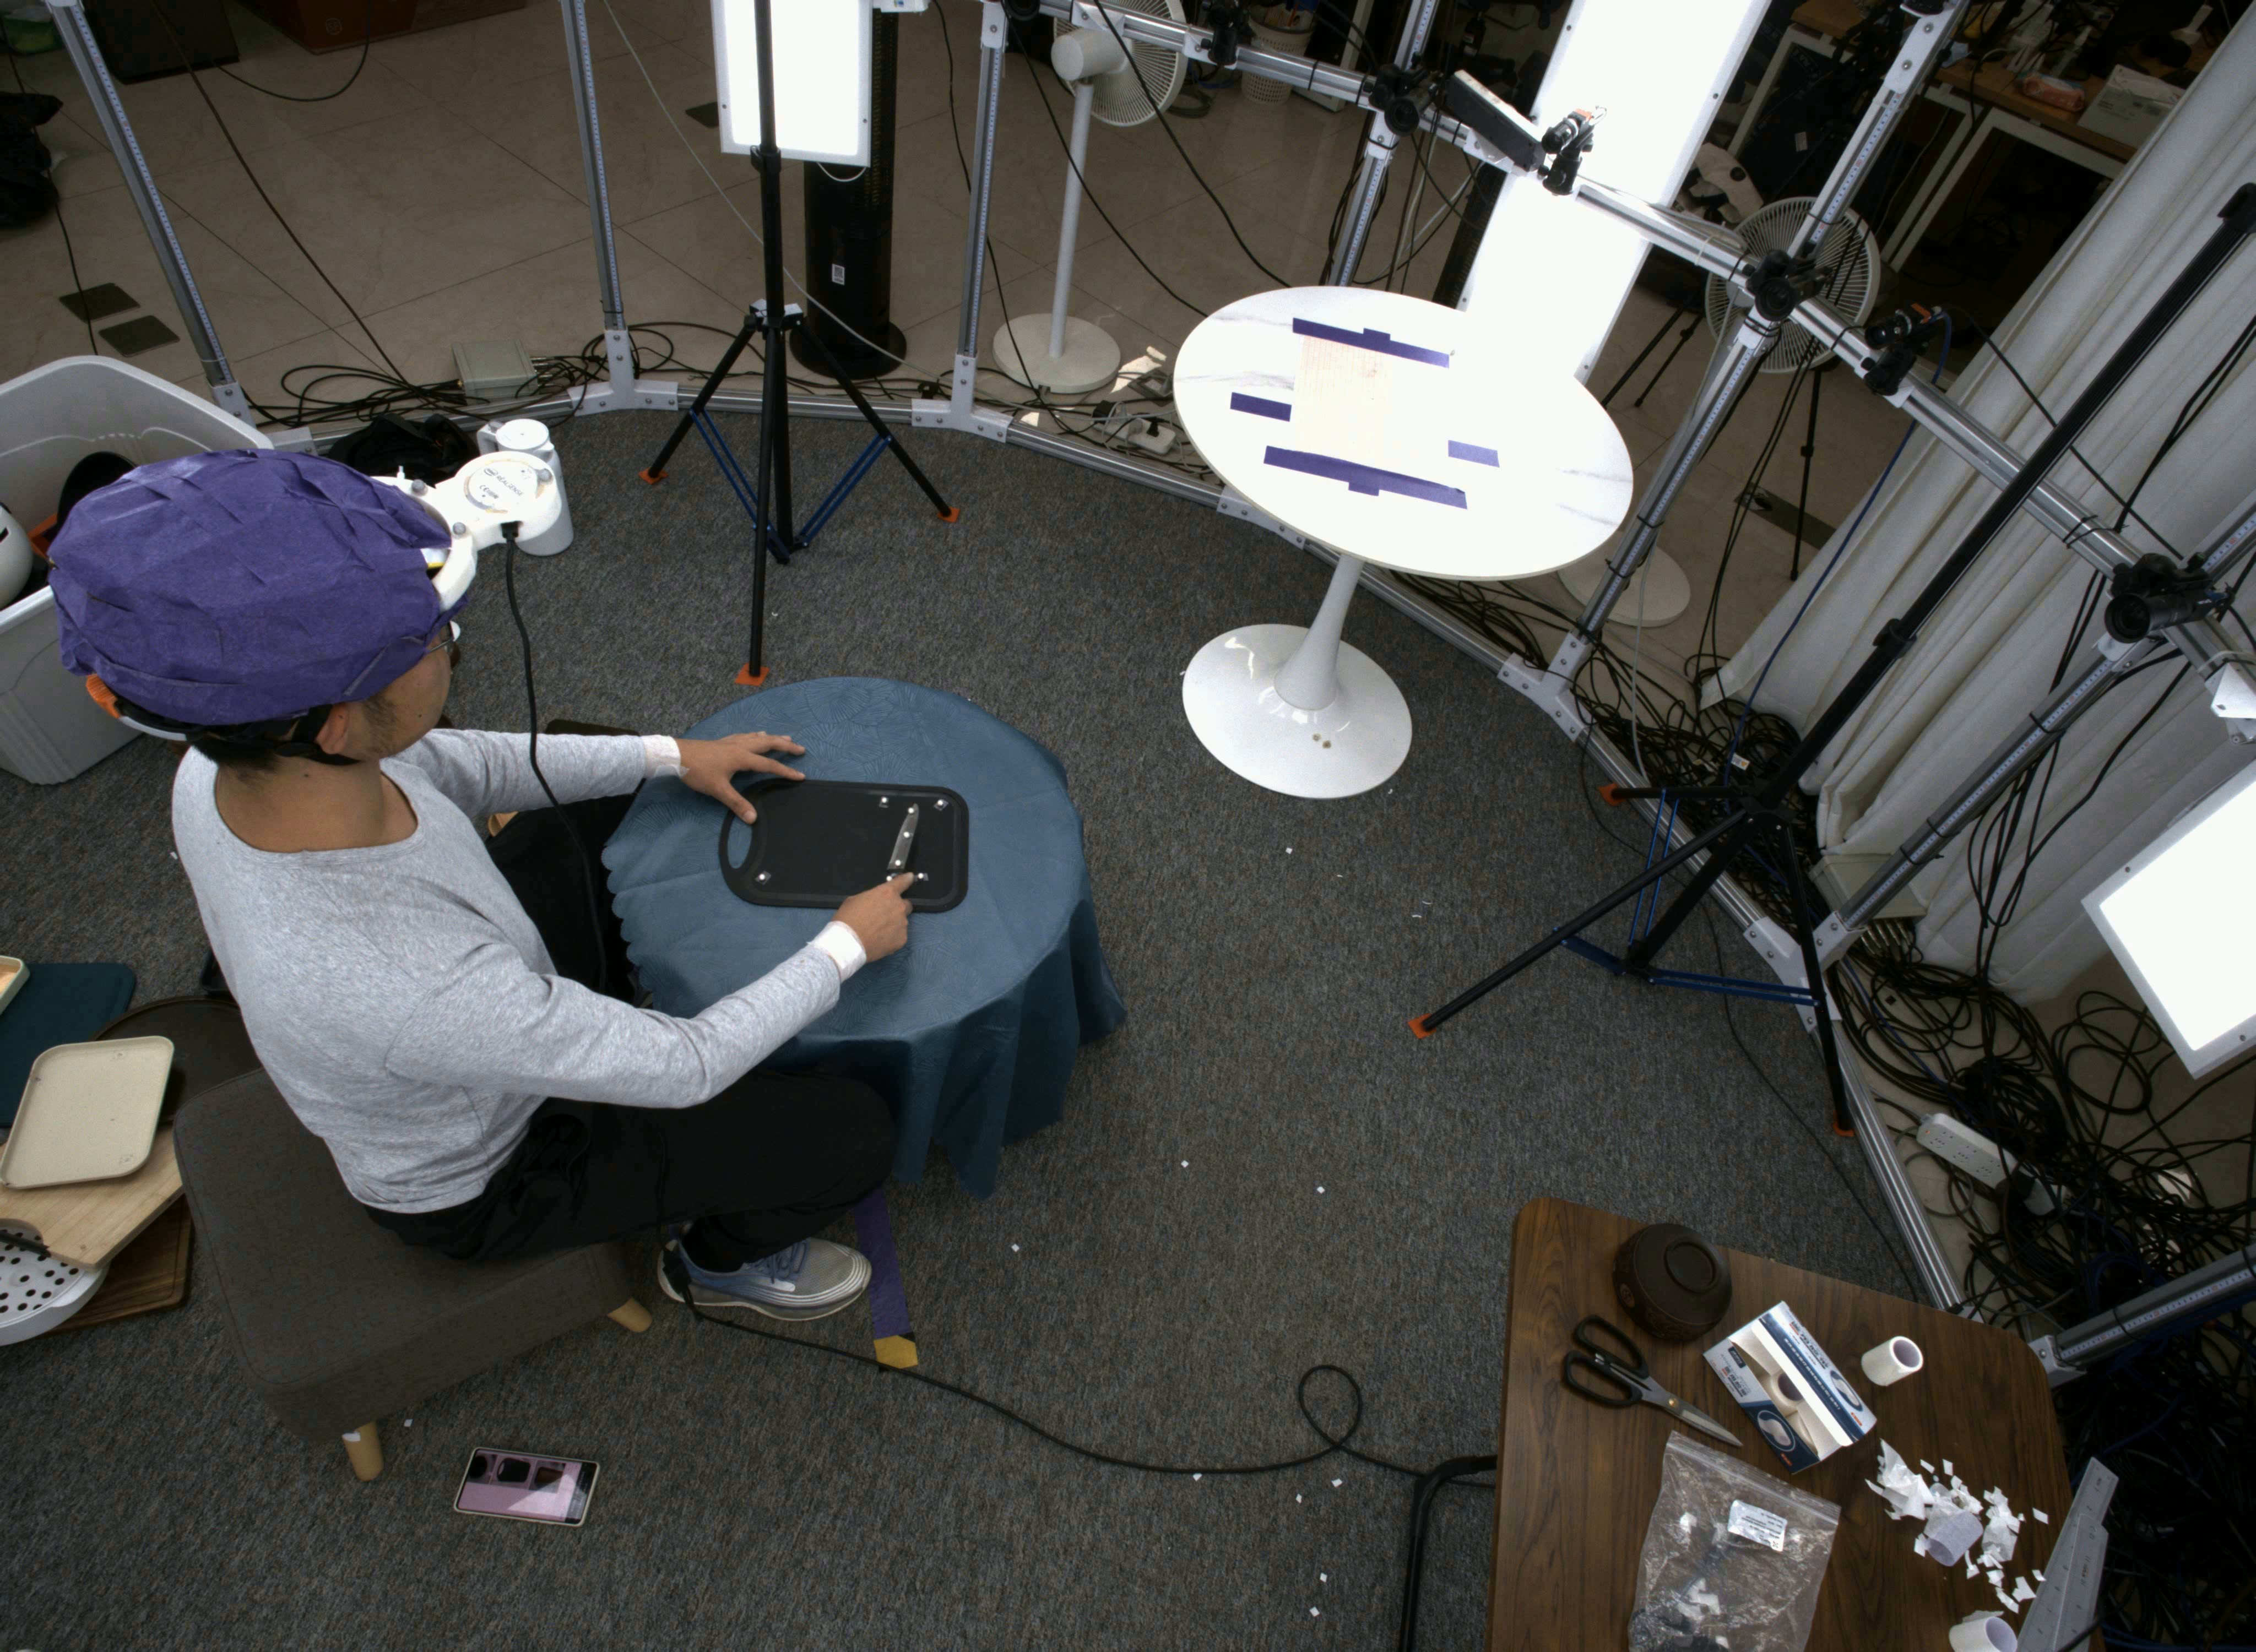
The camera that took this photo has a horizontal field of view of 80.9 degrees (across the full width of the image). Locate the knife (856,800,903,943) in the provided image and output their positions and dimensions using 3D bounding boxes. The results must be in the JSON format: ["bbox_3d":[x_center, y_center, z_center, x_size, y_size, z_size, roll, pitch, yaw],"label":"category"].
[{"bbox_3d":[-0.313,0.051,1.666,0.024,0.017,0.234,1,48,6],"label":"knife"}]

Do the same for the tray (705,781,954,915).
[{"bbox_3d":[-0.393,0.024,1.721,0.325,0.010,0.207,3,54,-12],"label":"tray"}]
